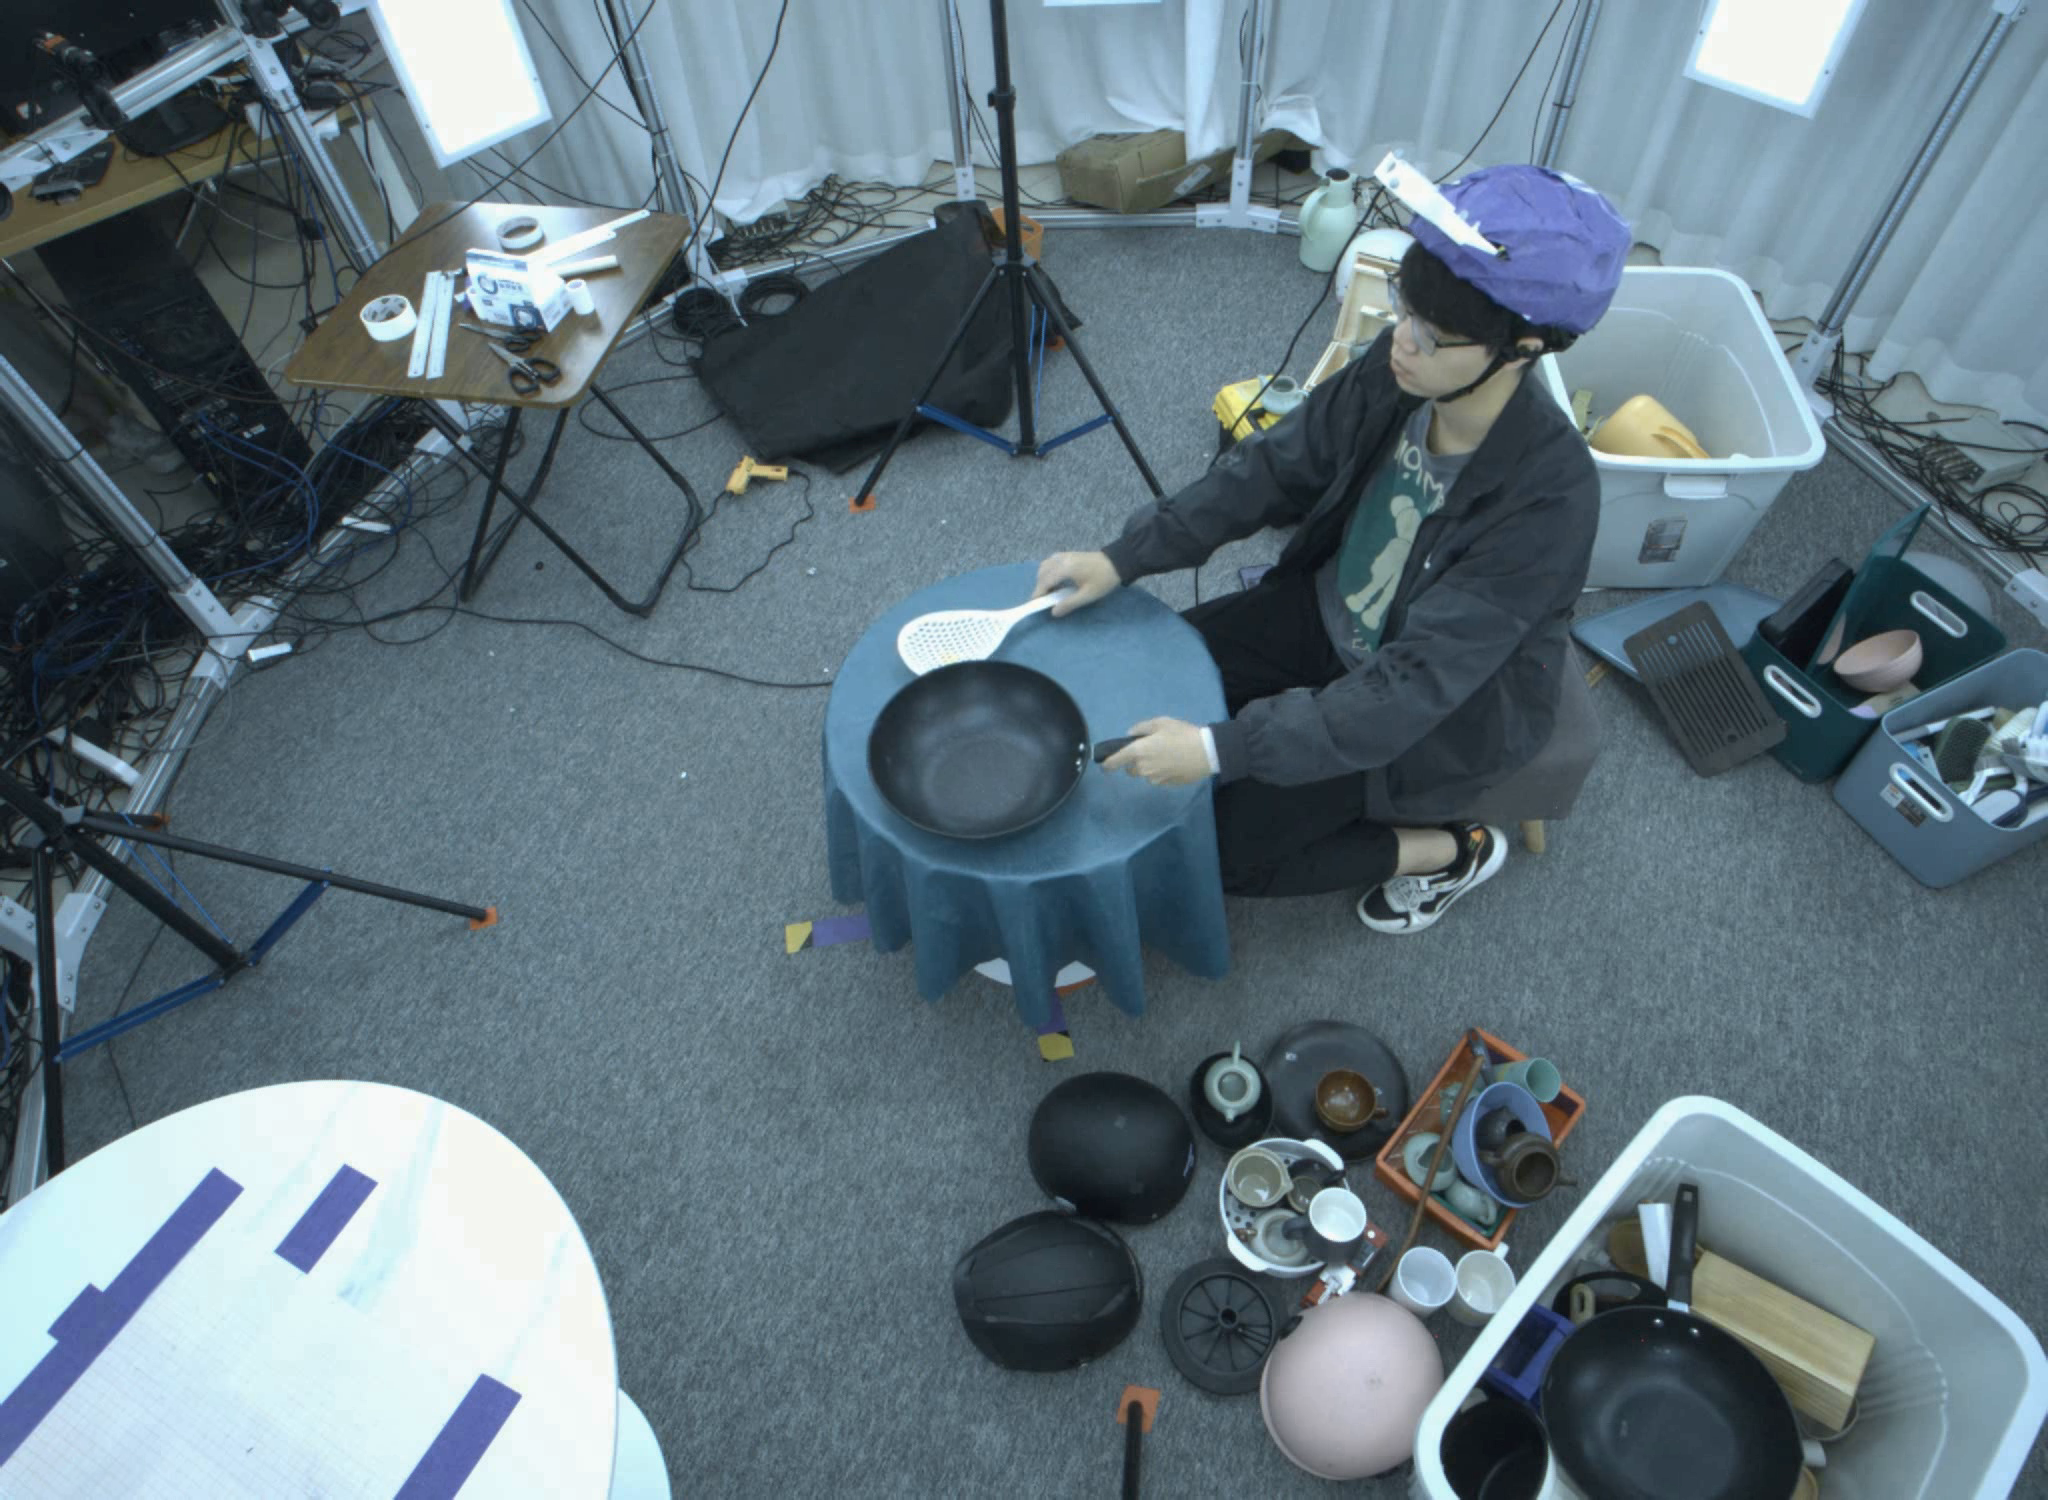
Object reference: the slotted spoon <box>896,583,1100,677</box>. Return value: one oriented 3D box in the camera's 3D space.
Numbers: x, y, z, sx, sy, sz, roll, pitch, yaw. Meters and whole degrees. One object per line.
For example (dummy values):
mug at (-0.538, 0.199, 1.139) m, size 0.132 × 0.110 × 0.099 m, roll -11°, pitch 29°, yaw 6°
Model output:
slotted spoon at (-0.030, -0.197, 1.896) m, size 0.351 × 0.051 × 0.134 m, roll -26°, pitch 57°, yaw -16°

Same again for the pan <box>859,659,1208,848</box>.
pan at (0.012, 0.014, 1.704) m, size 0.475 × 0.113 × 0.307 m, roll 2°, pitch 56°, yaw 4°
